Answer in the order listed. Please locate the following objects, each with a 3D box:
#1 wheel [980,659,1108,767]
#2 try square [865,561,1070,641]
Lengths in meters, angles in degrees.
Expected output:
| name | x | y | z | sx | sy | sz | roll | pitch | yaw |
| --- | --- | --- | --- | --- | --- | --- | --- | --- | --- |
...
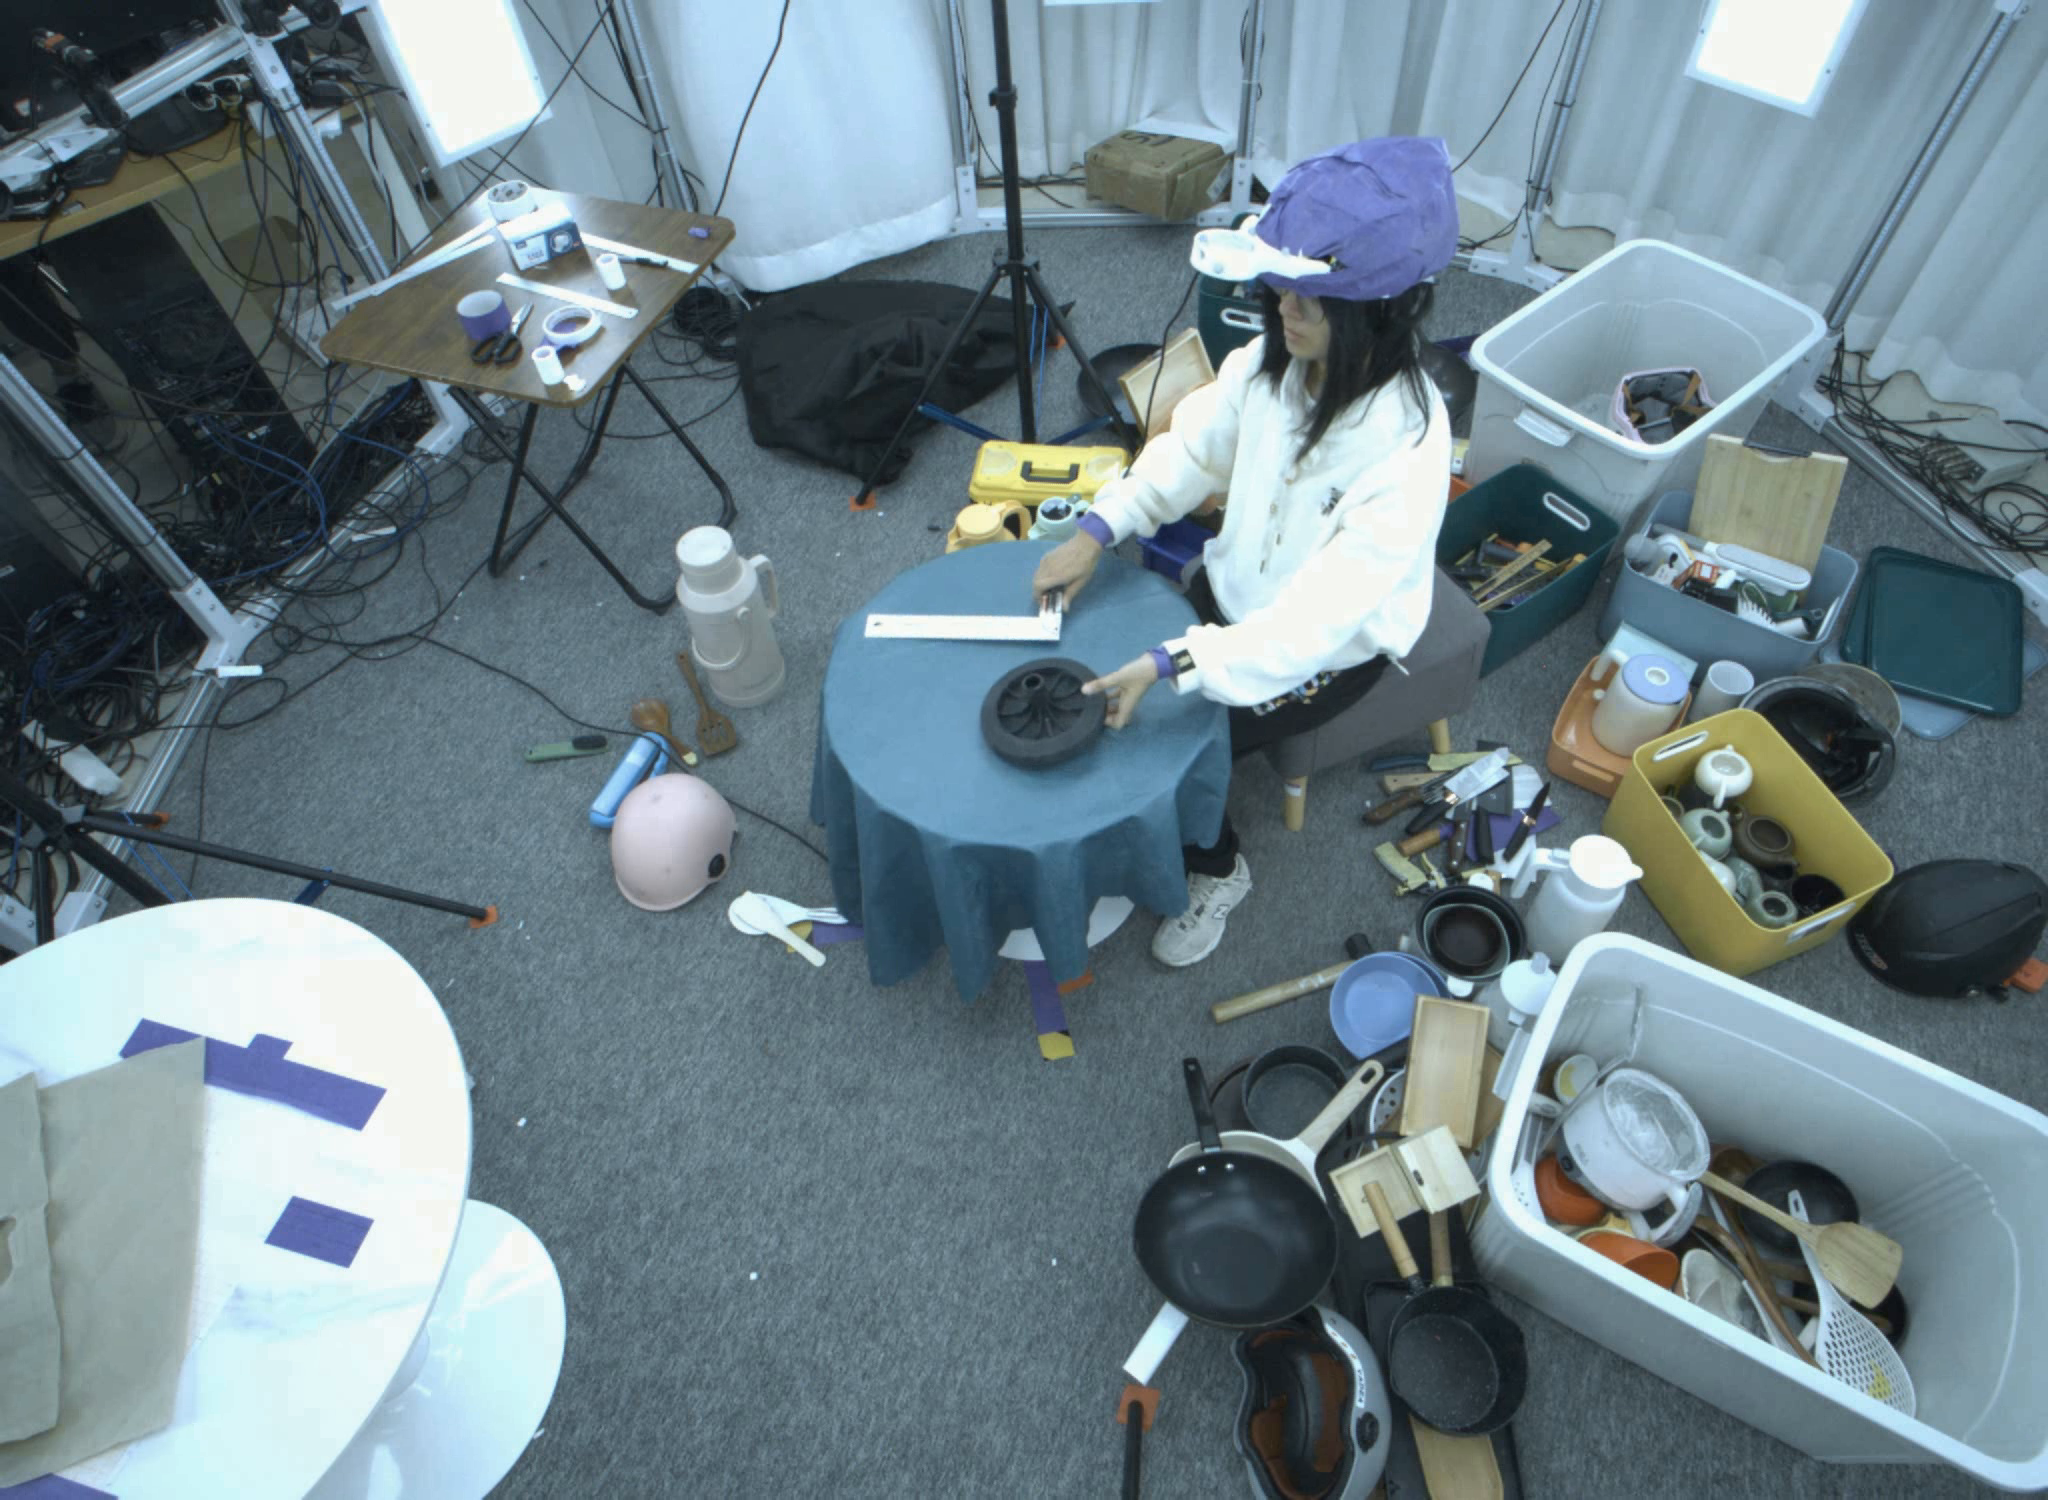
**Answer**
| name | x | y | z | sx | sy | sz | roll | pitch | yaw |
| --- | --- | --- | --- | --- | --- | --- | --- | --- | --- |
| wheel | 0.024 | -0.068 | 1.777 | 0.188 | 0.080 | 0.186 | -36 | 54 | -13 |
| try square | -0.089 | -0.237 | 1.937 | 0.311 | 0.016 | 0.151 | 2 | 61 | 6 |
